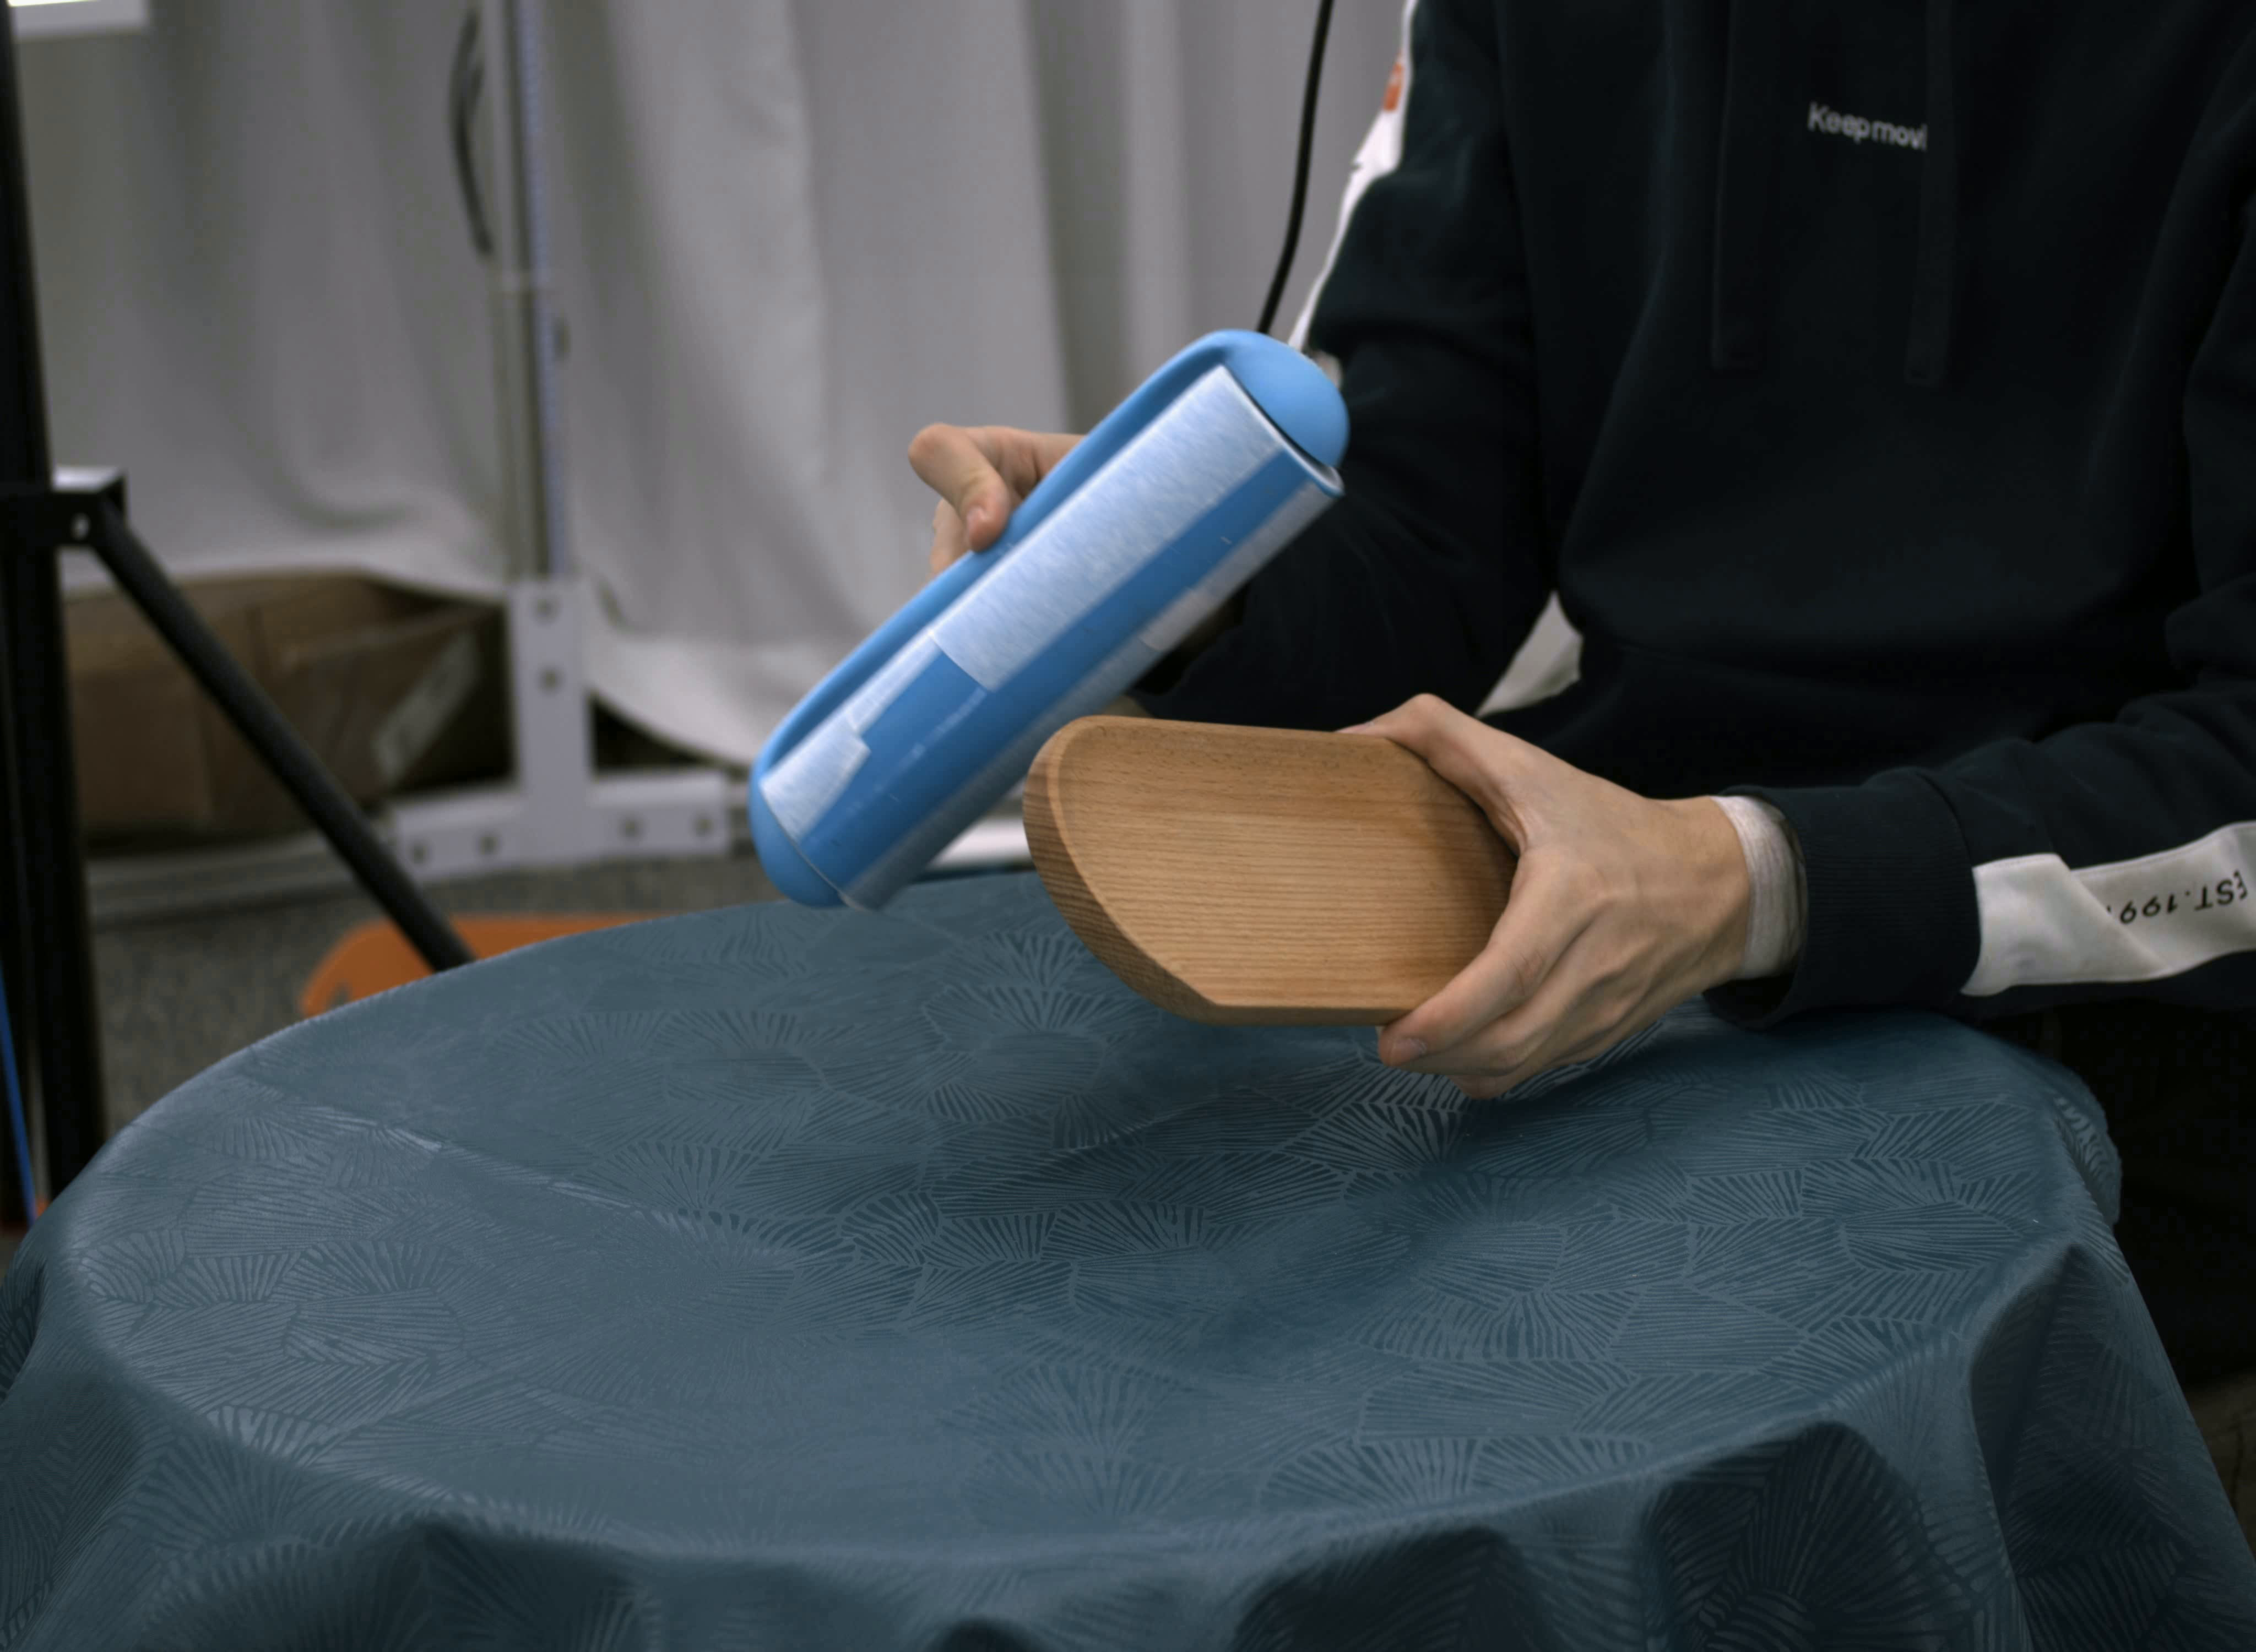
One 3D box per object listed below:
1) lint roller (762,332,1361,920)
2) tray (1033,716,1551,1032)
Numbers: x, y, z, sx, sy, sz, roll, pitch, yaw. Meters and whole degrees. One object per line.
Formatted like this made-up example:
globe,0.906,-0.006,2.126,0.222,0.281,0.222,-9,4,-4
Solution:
lint roller,-0.018,-0.067,1.655,0.230,0.067,0.180,-44,7,10
tray,0.051,0.016,1.558,0.020,0.103,0.225,-38,-23,29
